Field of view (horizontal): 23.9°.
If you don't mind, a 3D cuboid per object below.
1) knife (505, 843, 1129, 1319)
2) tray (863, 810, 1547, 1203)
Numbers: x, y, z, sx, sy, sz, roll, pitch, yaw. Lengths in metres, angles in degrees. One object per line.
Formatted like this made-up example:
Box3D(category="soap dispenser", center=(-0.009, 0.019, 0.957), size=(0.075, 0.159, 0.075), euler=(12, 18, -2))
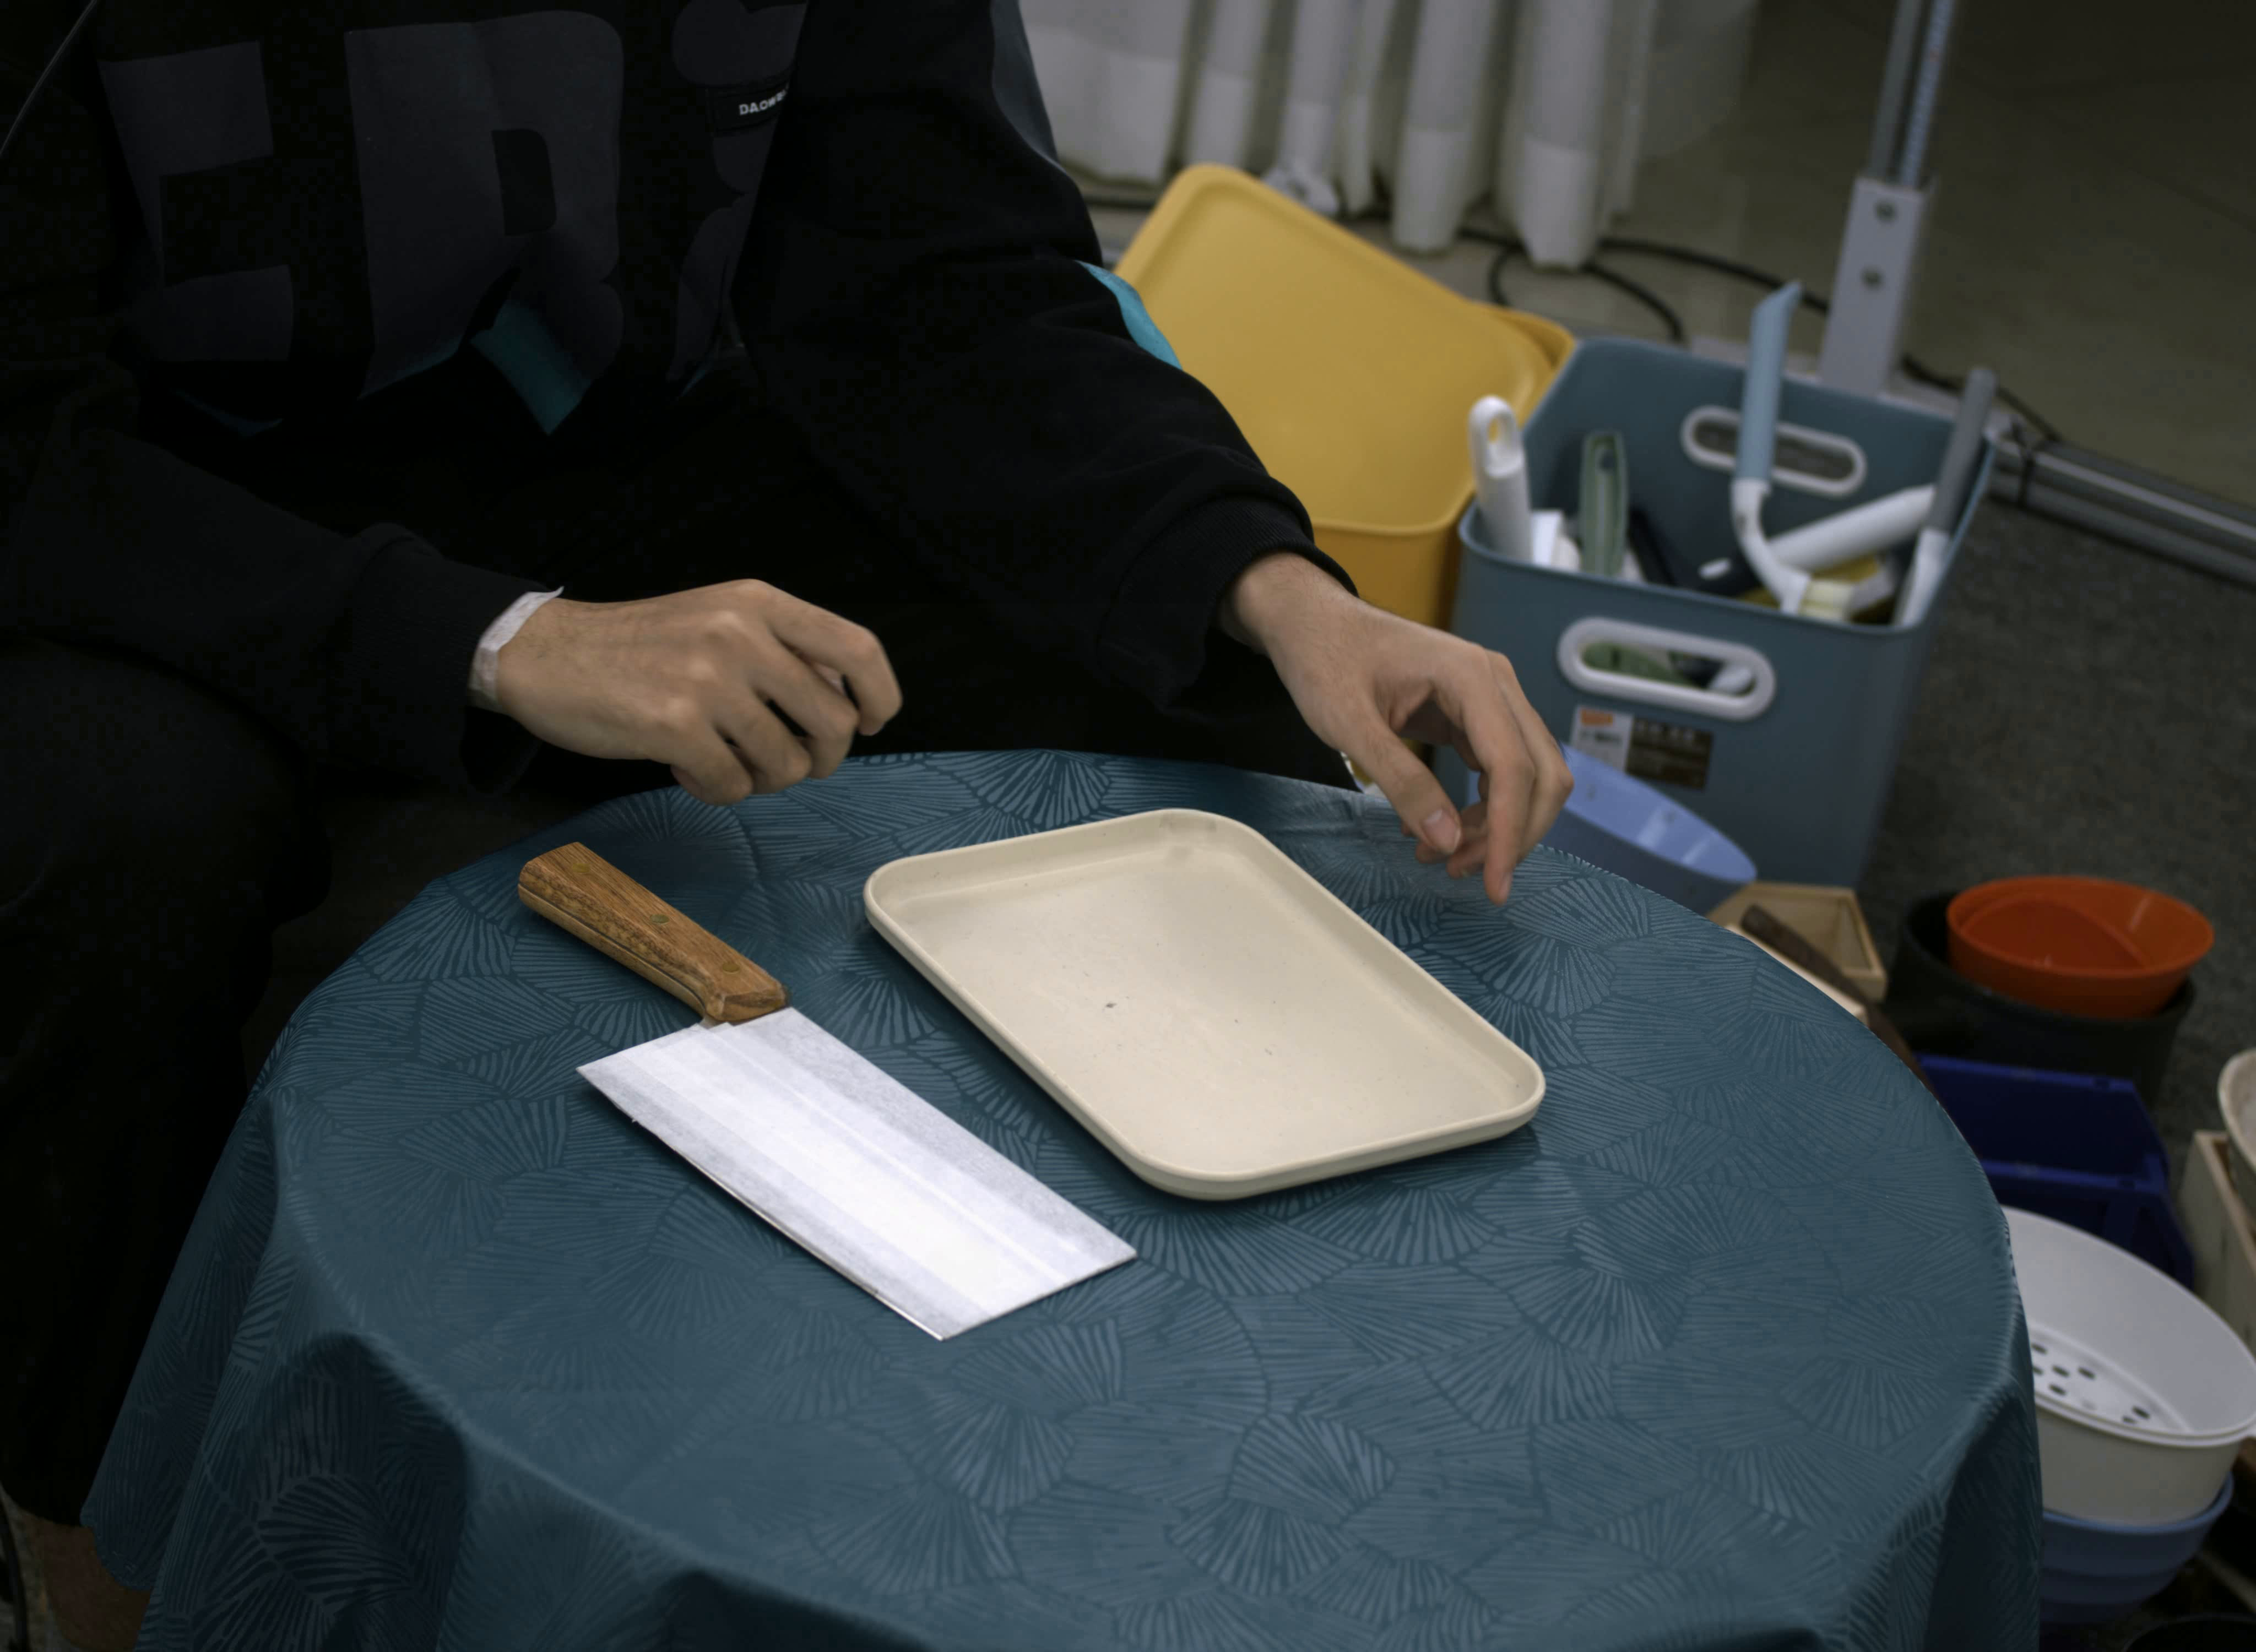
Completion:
Box3D(category="knife", center=(-0.130, 0.087, 1.827), size=(0.092, 0.021, 0.308), euler=(-20, 40, -39))
Box3D(category="tray", center=(0.025, 0.063, 1.906), size=(0.170, 0.017, 0.242), euler=(-11, 32, -30))
